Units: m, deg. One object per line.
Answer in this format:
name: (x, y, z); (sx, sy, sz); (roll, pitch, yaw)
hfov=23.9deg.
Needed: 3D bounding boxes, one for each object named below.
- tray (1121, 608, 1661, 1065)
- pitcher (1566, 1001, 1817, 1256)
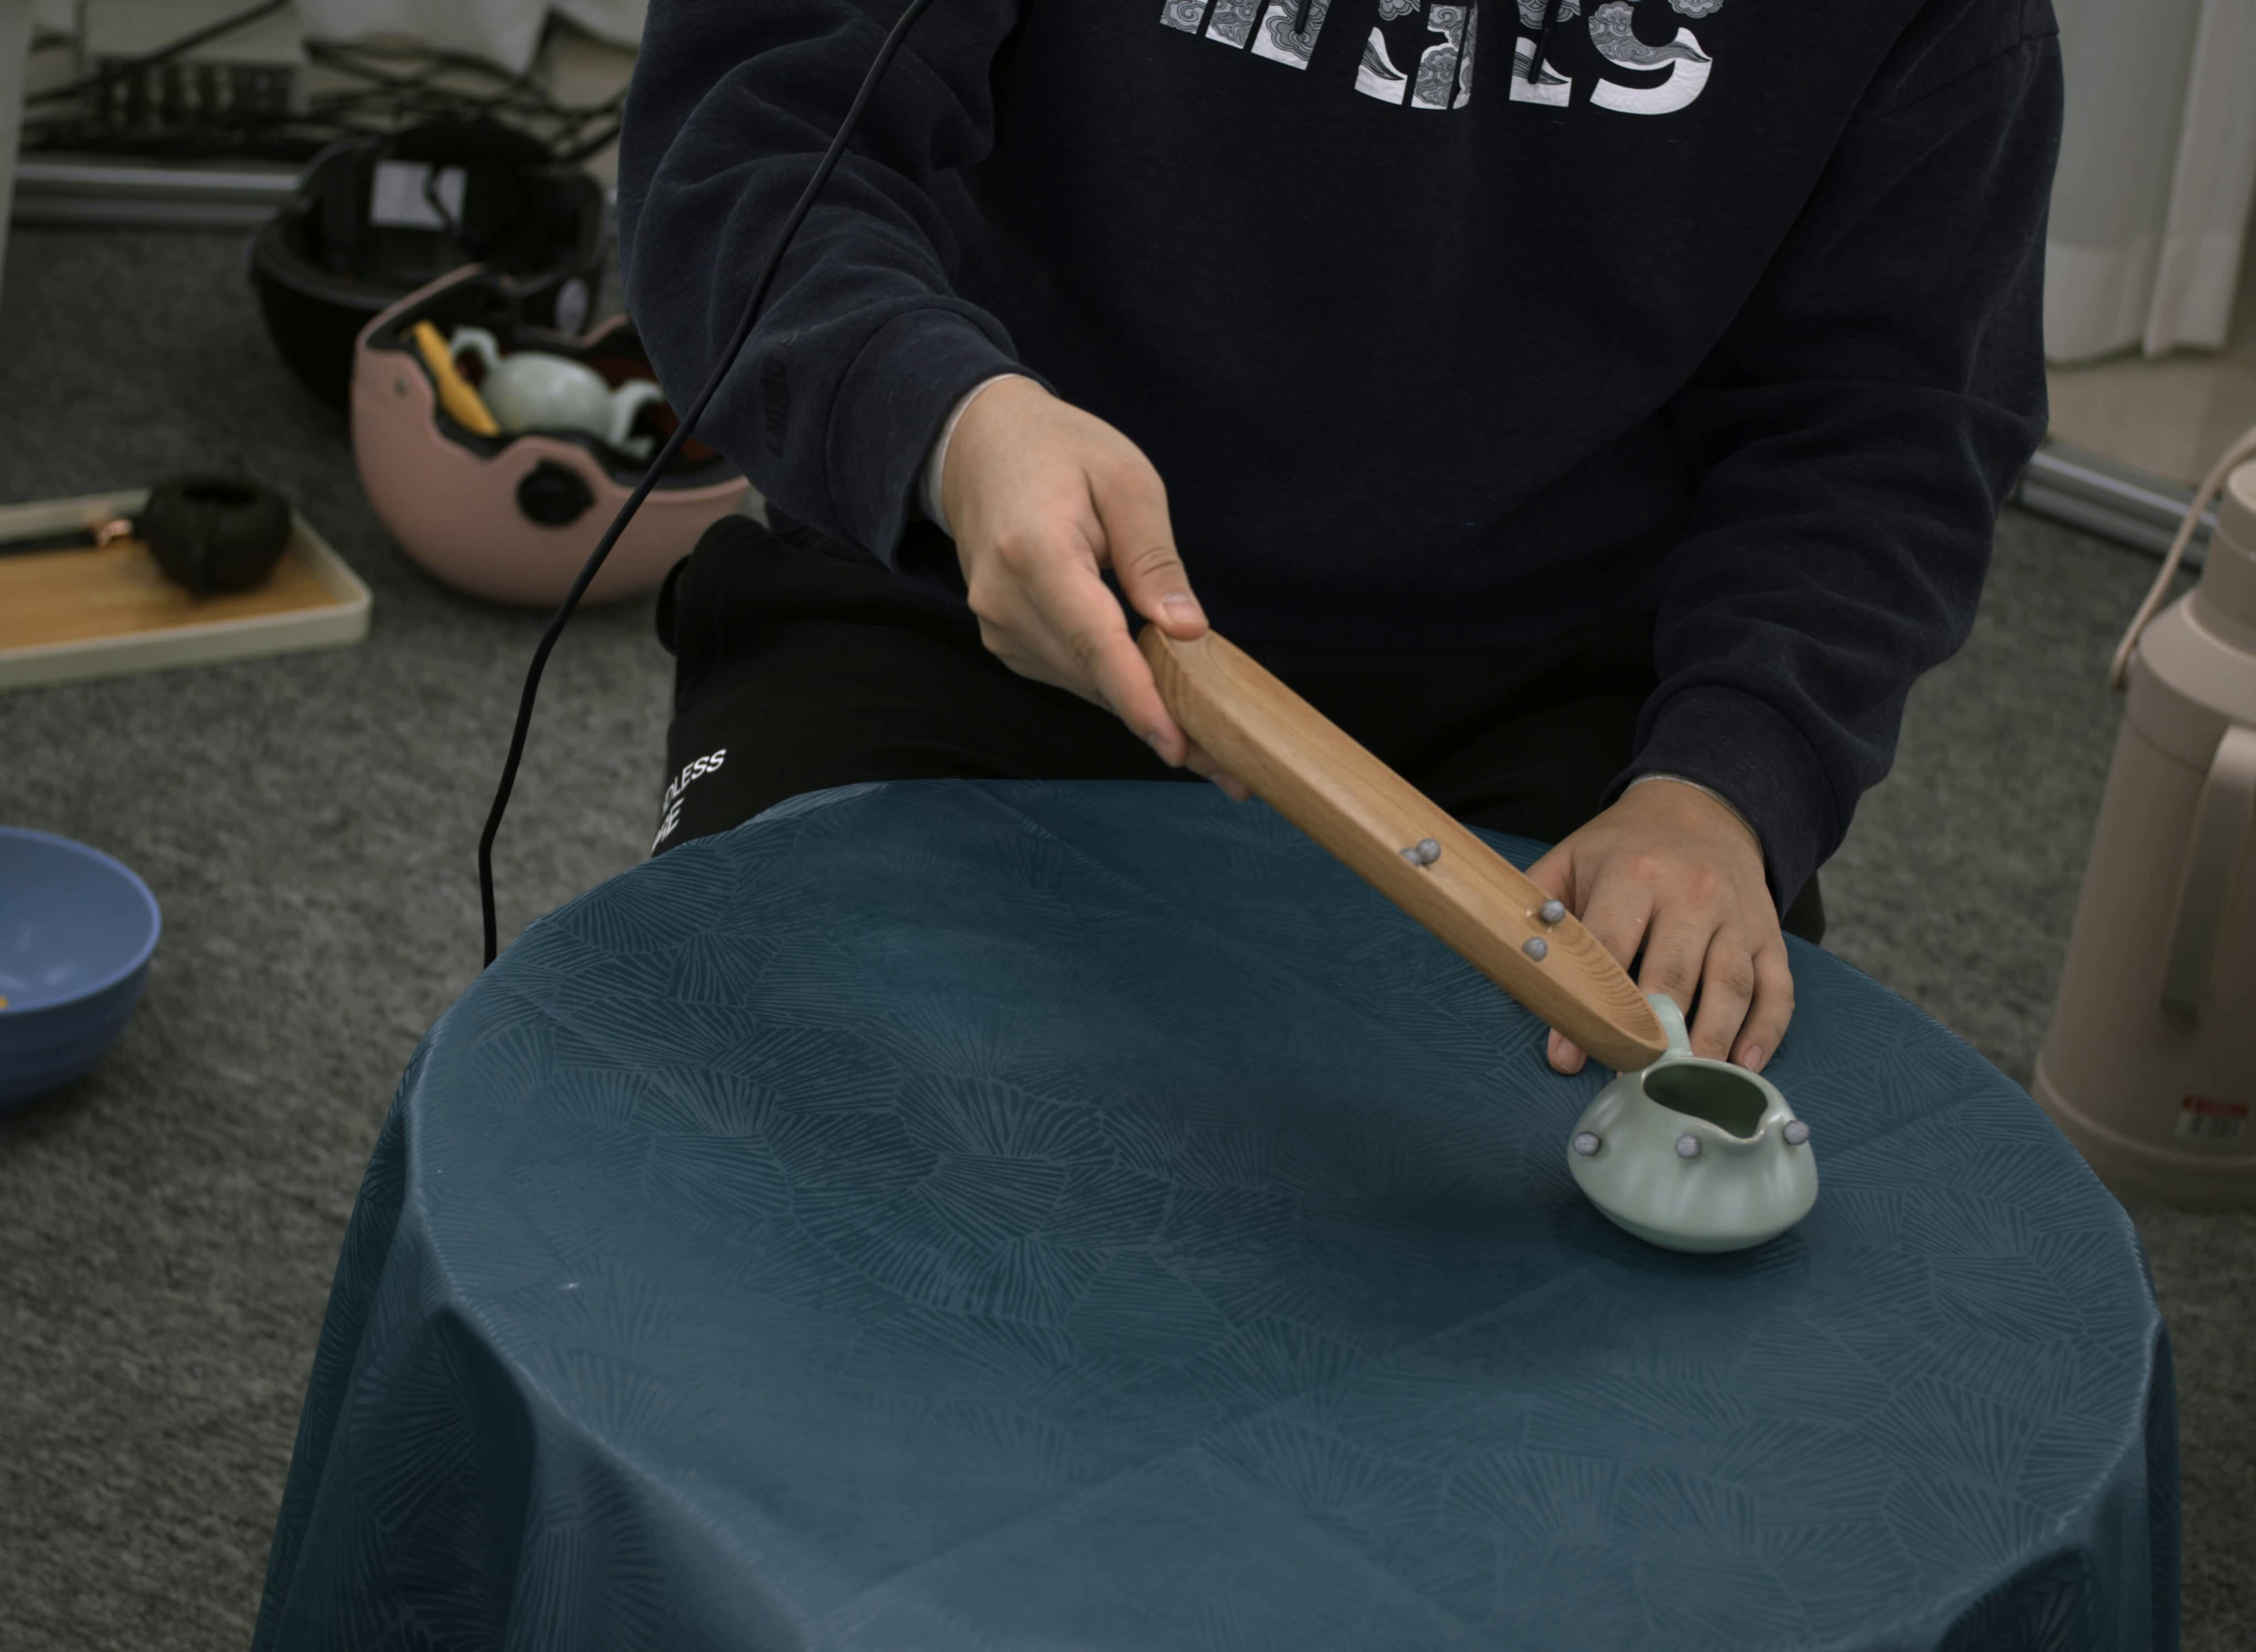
tray: (0.087, 0.005, 1.763); (0.230, 0.020, 0.102); (36, 13, -17)
pitcher: (0.191, 0.105, 1.827); (0.085, 0.060, 0.109); (0, 25, -16)
